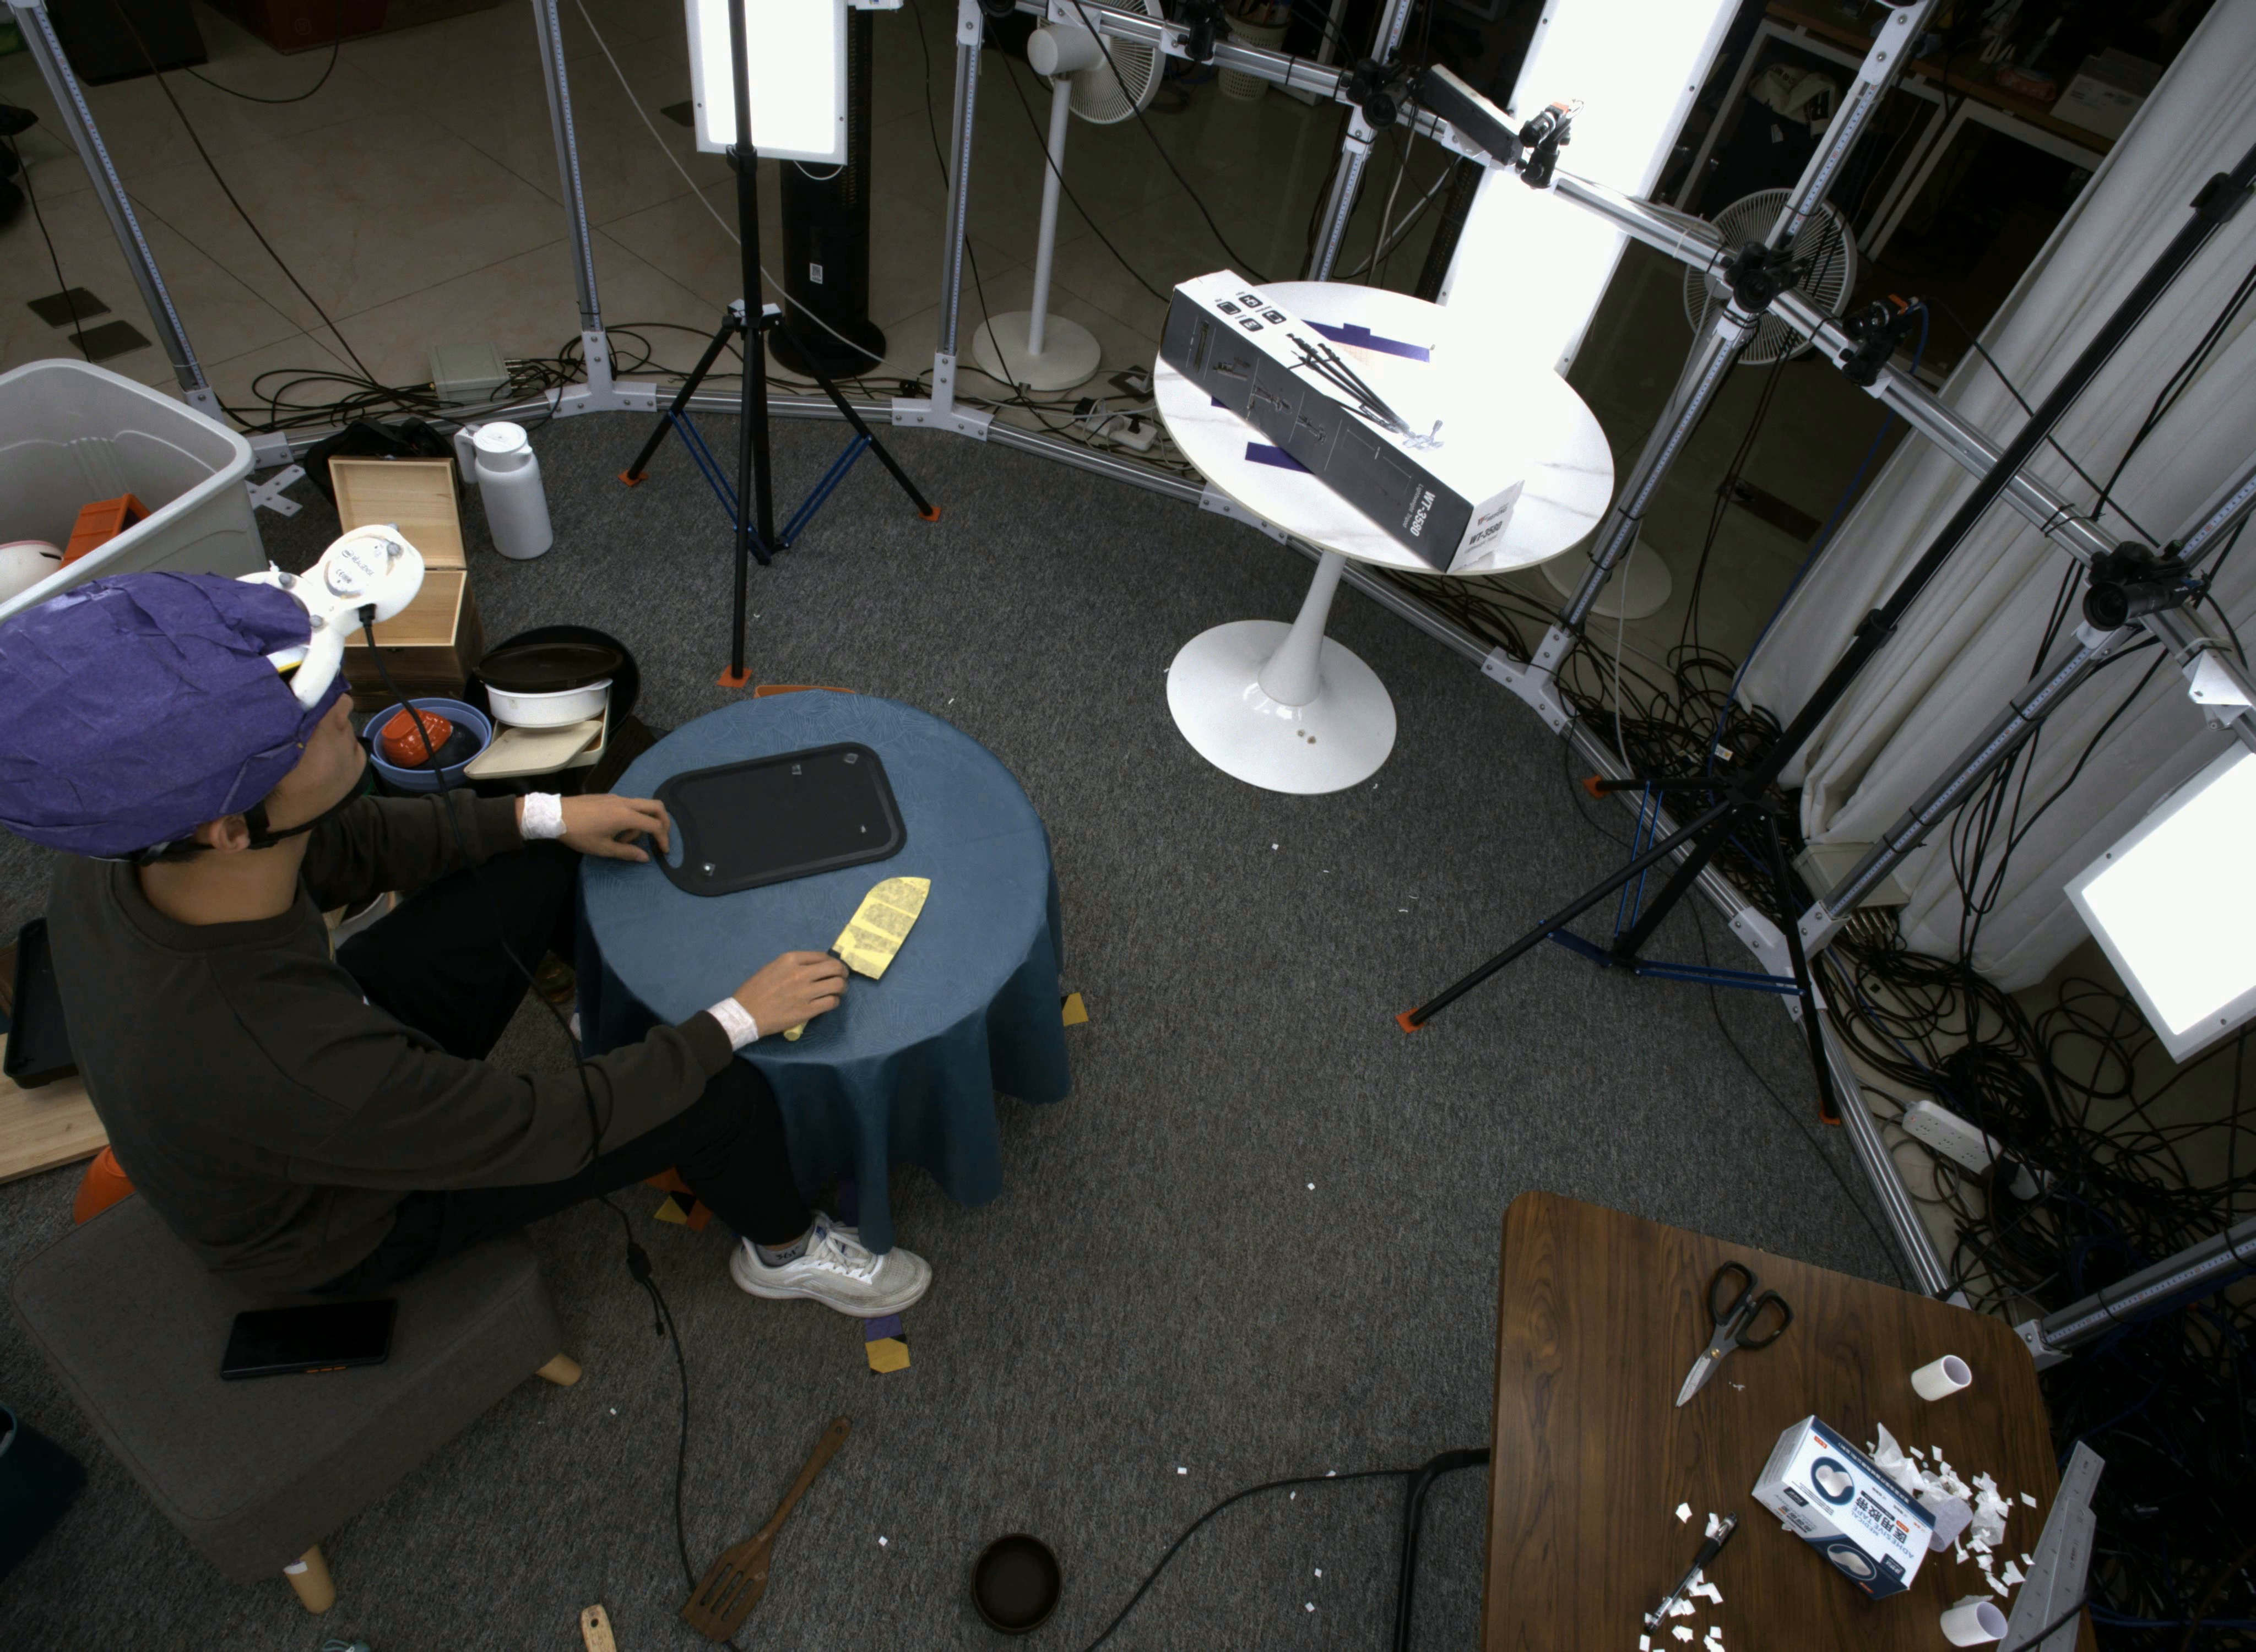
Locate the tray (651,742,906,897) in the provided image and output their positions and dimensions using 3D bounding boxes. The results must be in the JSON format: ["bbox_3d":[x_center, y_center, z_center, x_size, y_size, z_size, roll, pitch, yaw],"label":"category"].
[{"bbox_3d":[-0.470,-0.014,1.729,0.327,0.010,0.206,-12,58,-22],"label":"tray"}]

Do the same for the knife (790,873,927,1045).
[{"bbox_3d":[-0.334,0.160,1.630,0.080,0.028,0.287,24,51,7],"label":"knife"}]
